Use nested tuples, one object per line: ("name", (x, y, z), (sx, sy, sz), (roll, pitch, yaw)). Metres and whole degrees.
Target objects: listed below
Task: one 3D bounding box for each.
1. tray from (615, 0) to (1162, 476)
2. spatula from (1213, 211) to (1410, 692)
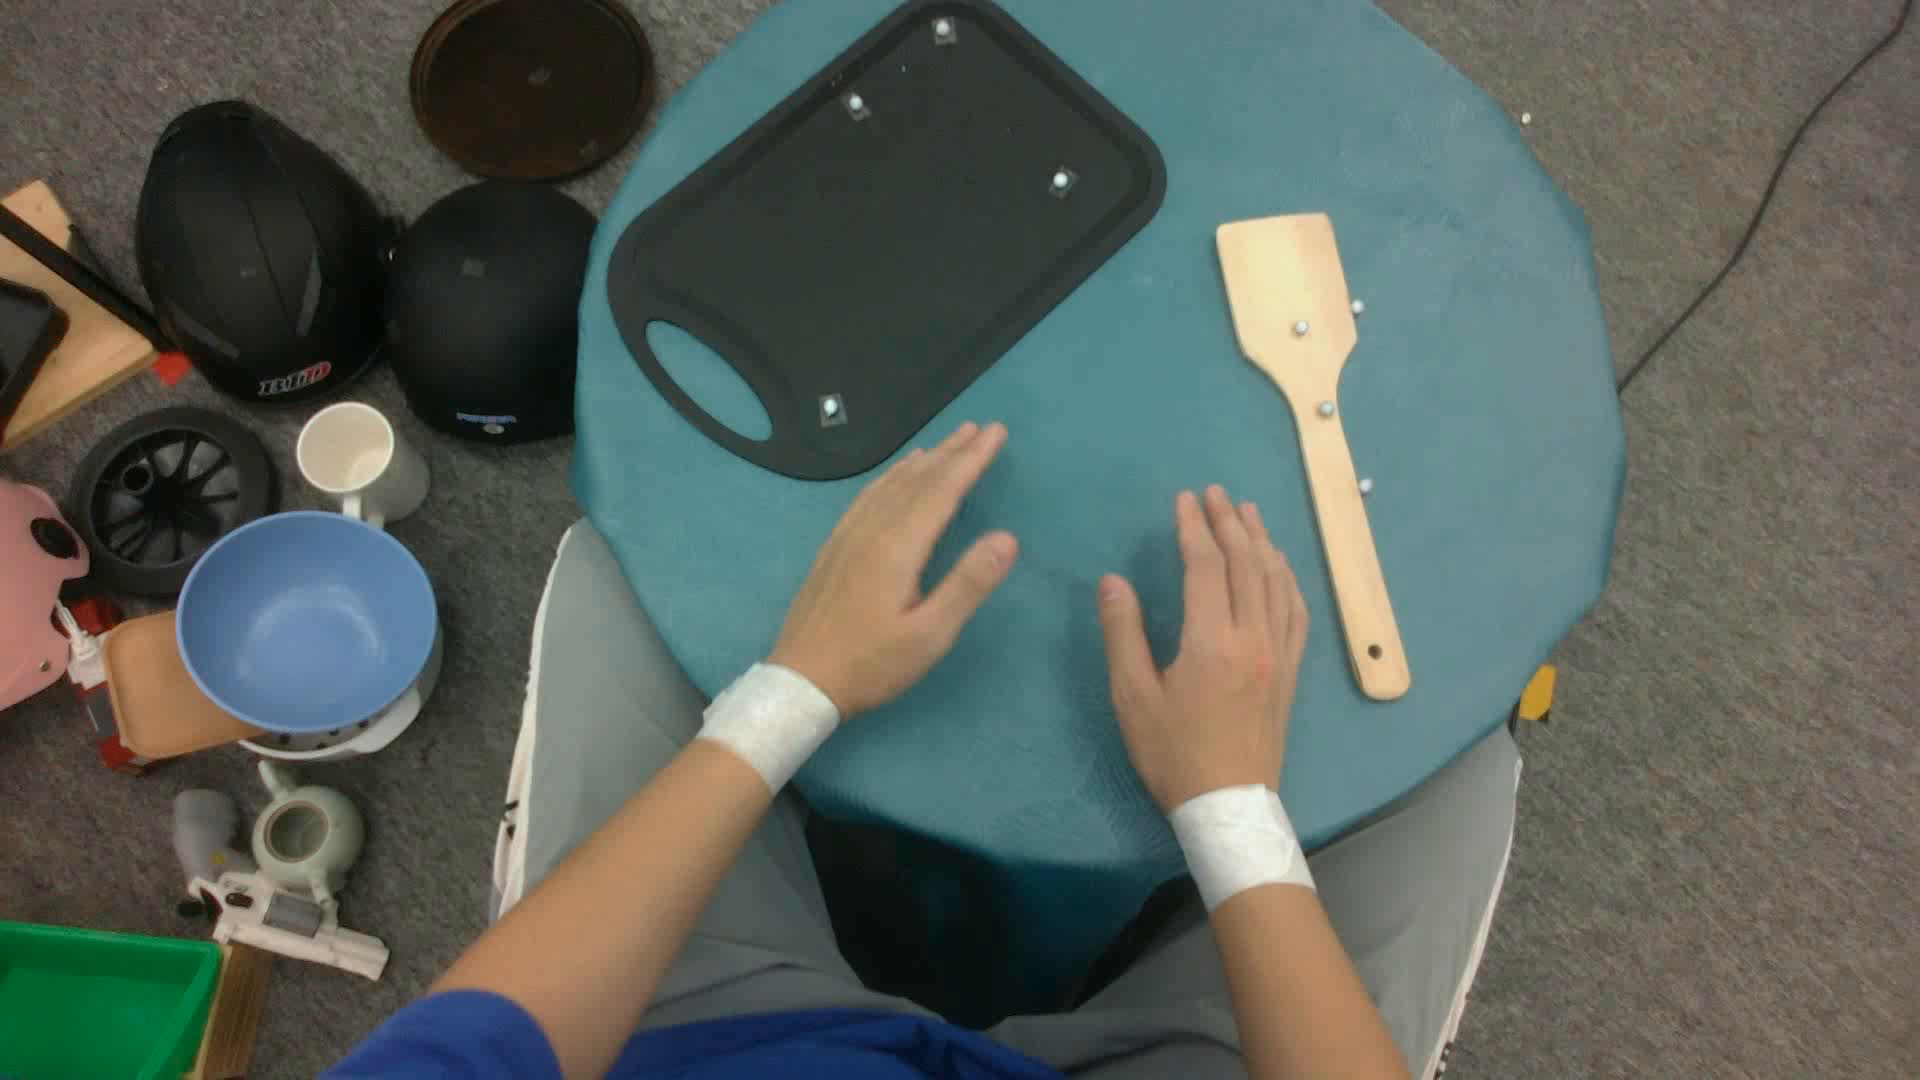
("tray", (-0.045, -0.186, 0.821), (0.211, 0.010, 0.326), (44, 76, 11))
("spatula", (0.209, -0.056, 0.787), (0.072, 0.010, 0.293), (-8, 73, -6))
